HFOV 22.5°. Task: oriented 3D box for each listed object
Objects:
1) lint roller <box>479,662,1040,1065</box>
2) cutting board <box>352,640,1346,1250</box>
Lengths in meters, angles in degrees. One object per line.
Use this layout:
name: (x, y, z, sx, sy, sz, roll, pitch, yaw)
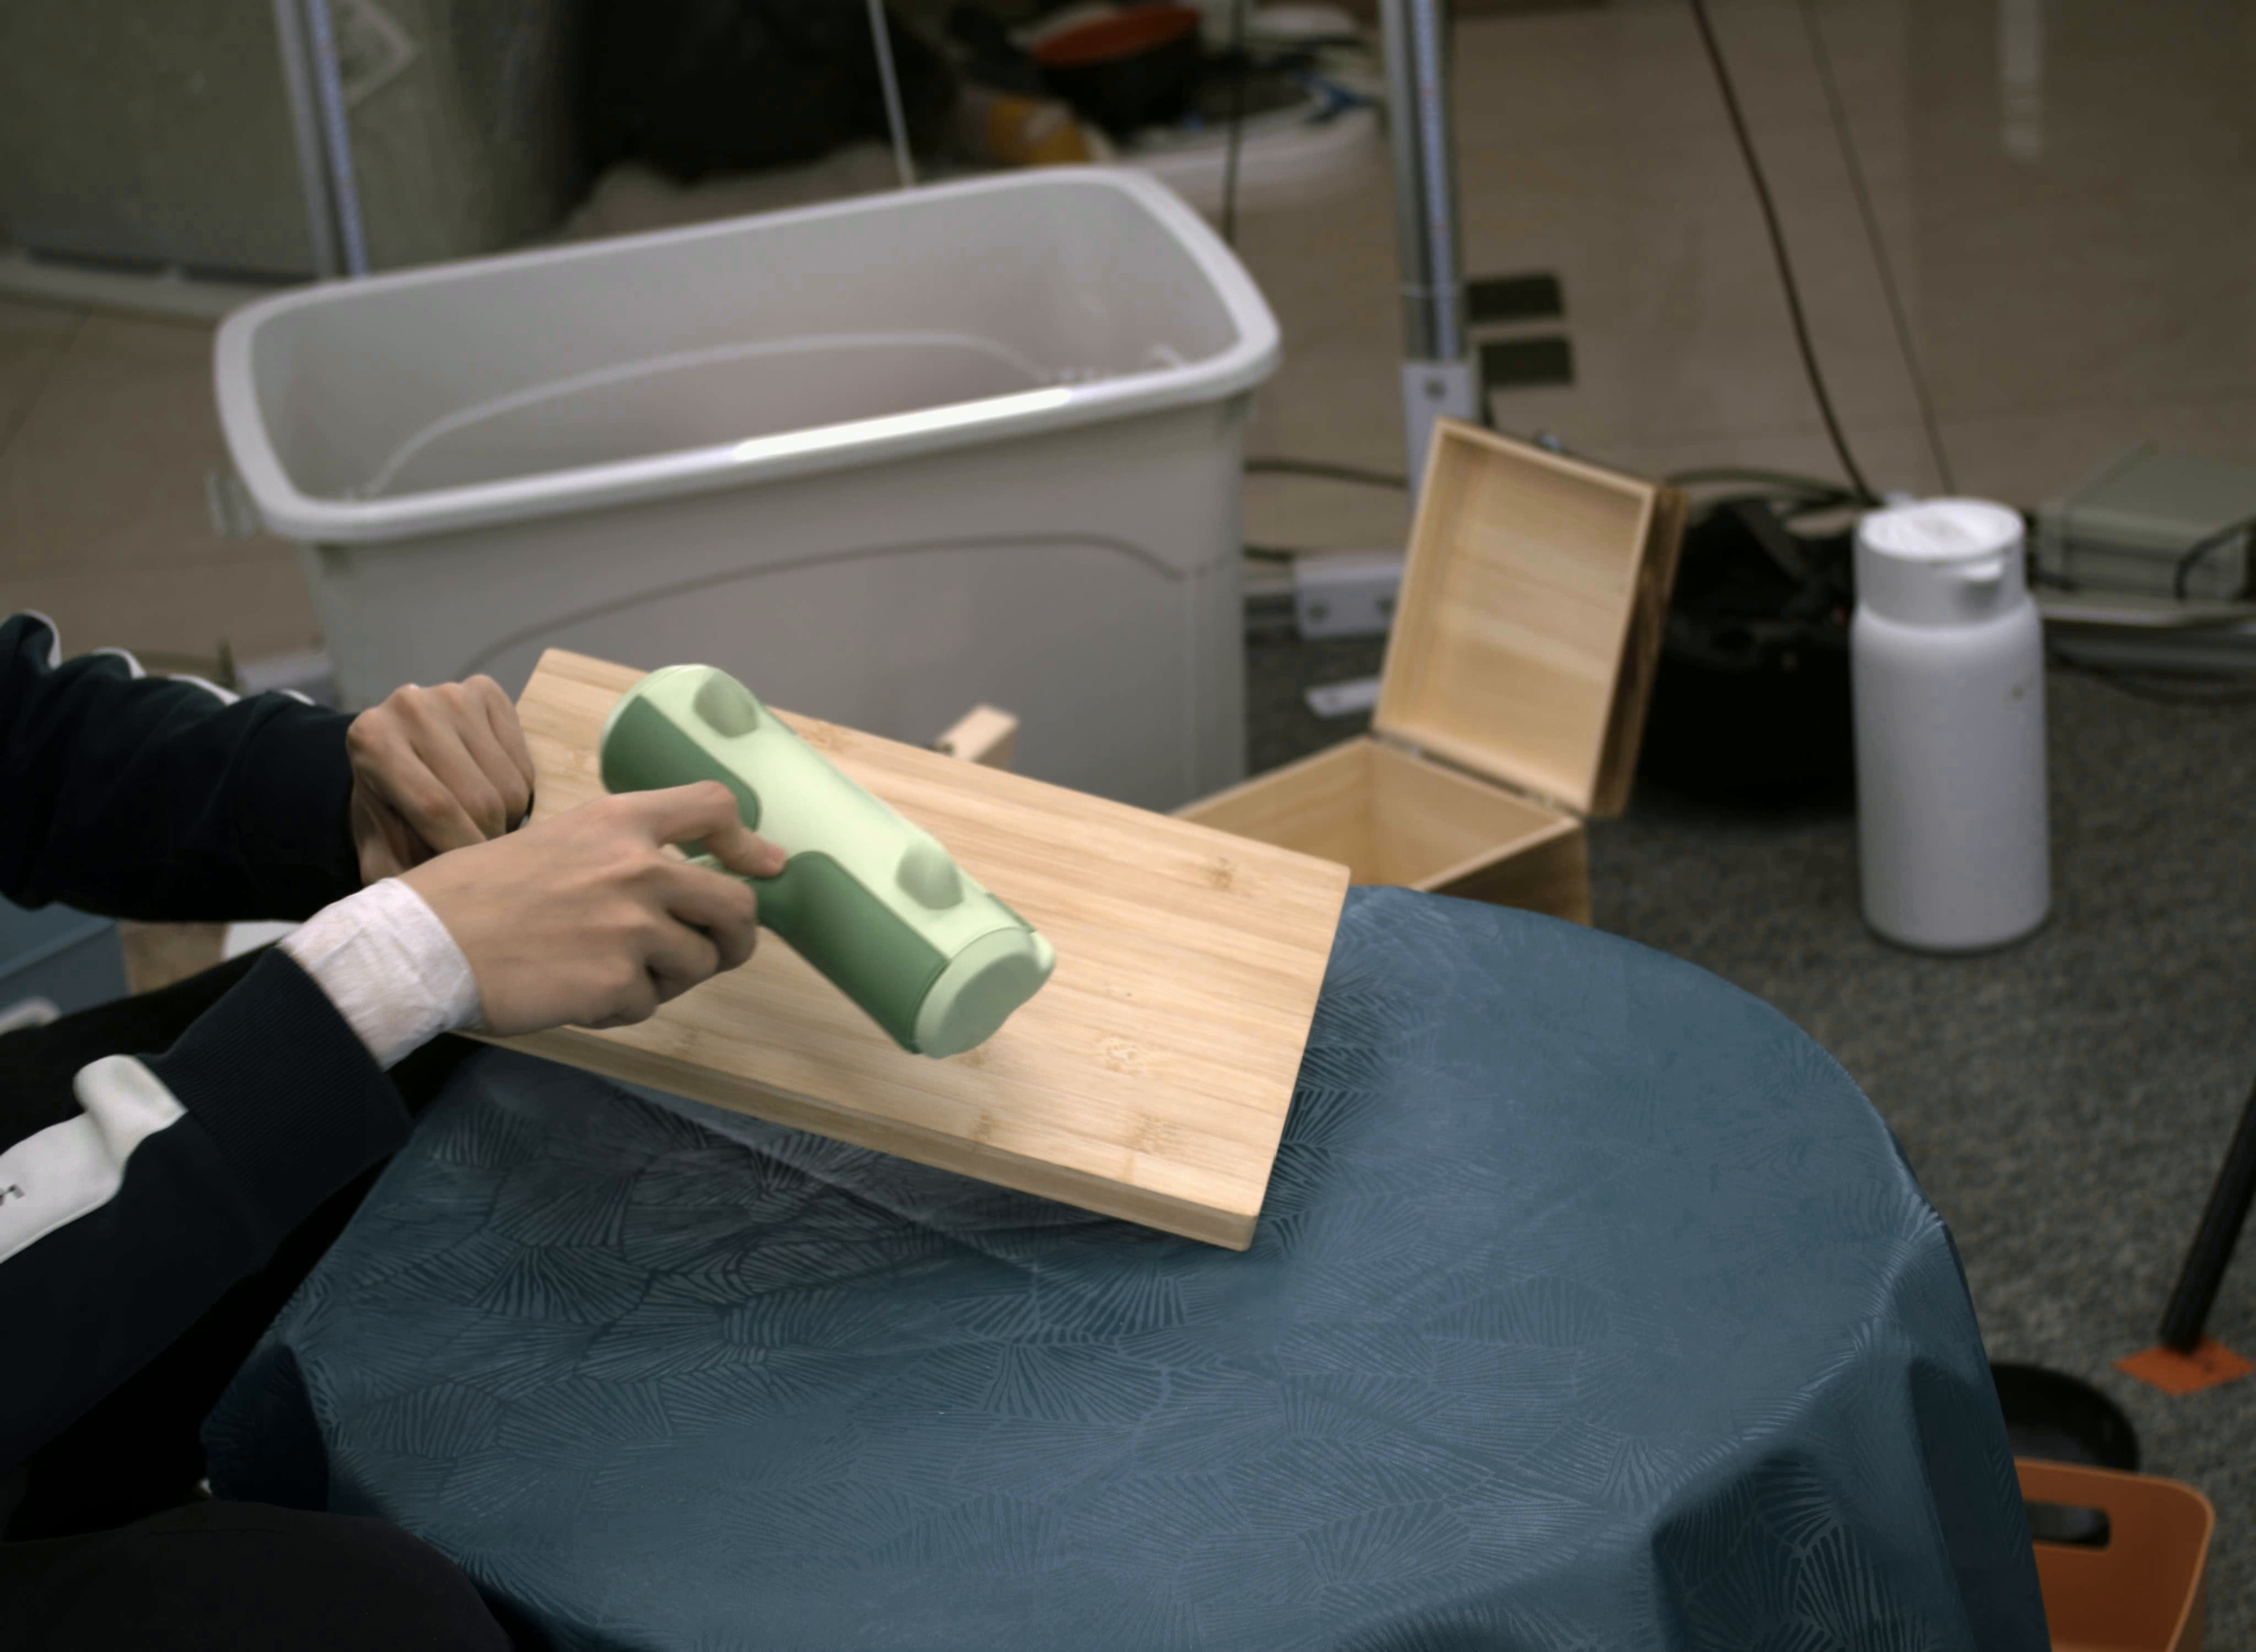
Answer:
lint roller: (-0.154, 0.013, 2.036, 0.196, 0.083, 0.182, 41, 33, 29)
cutting board: (-0.101, 0.042, 2.191, 0.348, 0.024, 0.246, 15, 34, 1)
